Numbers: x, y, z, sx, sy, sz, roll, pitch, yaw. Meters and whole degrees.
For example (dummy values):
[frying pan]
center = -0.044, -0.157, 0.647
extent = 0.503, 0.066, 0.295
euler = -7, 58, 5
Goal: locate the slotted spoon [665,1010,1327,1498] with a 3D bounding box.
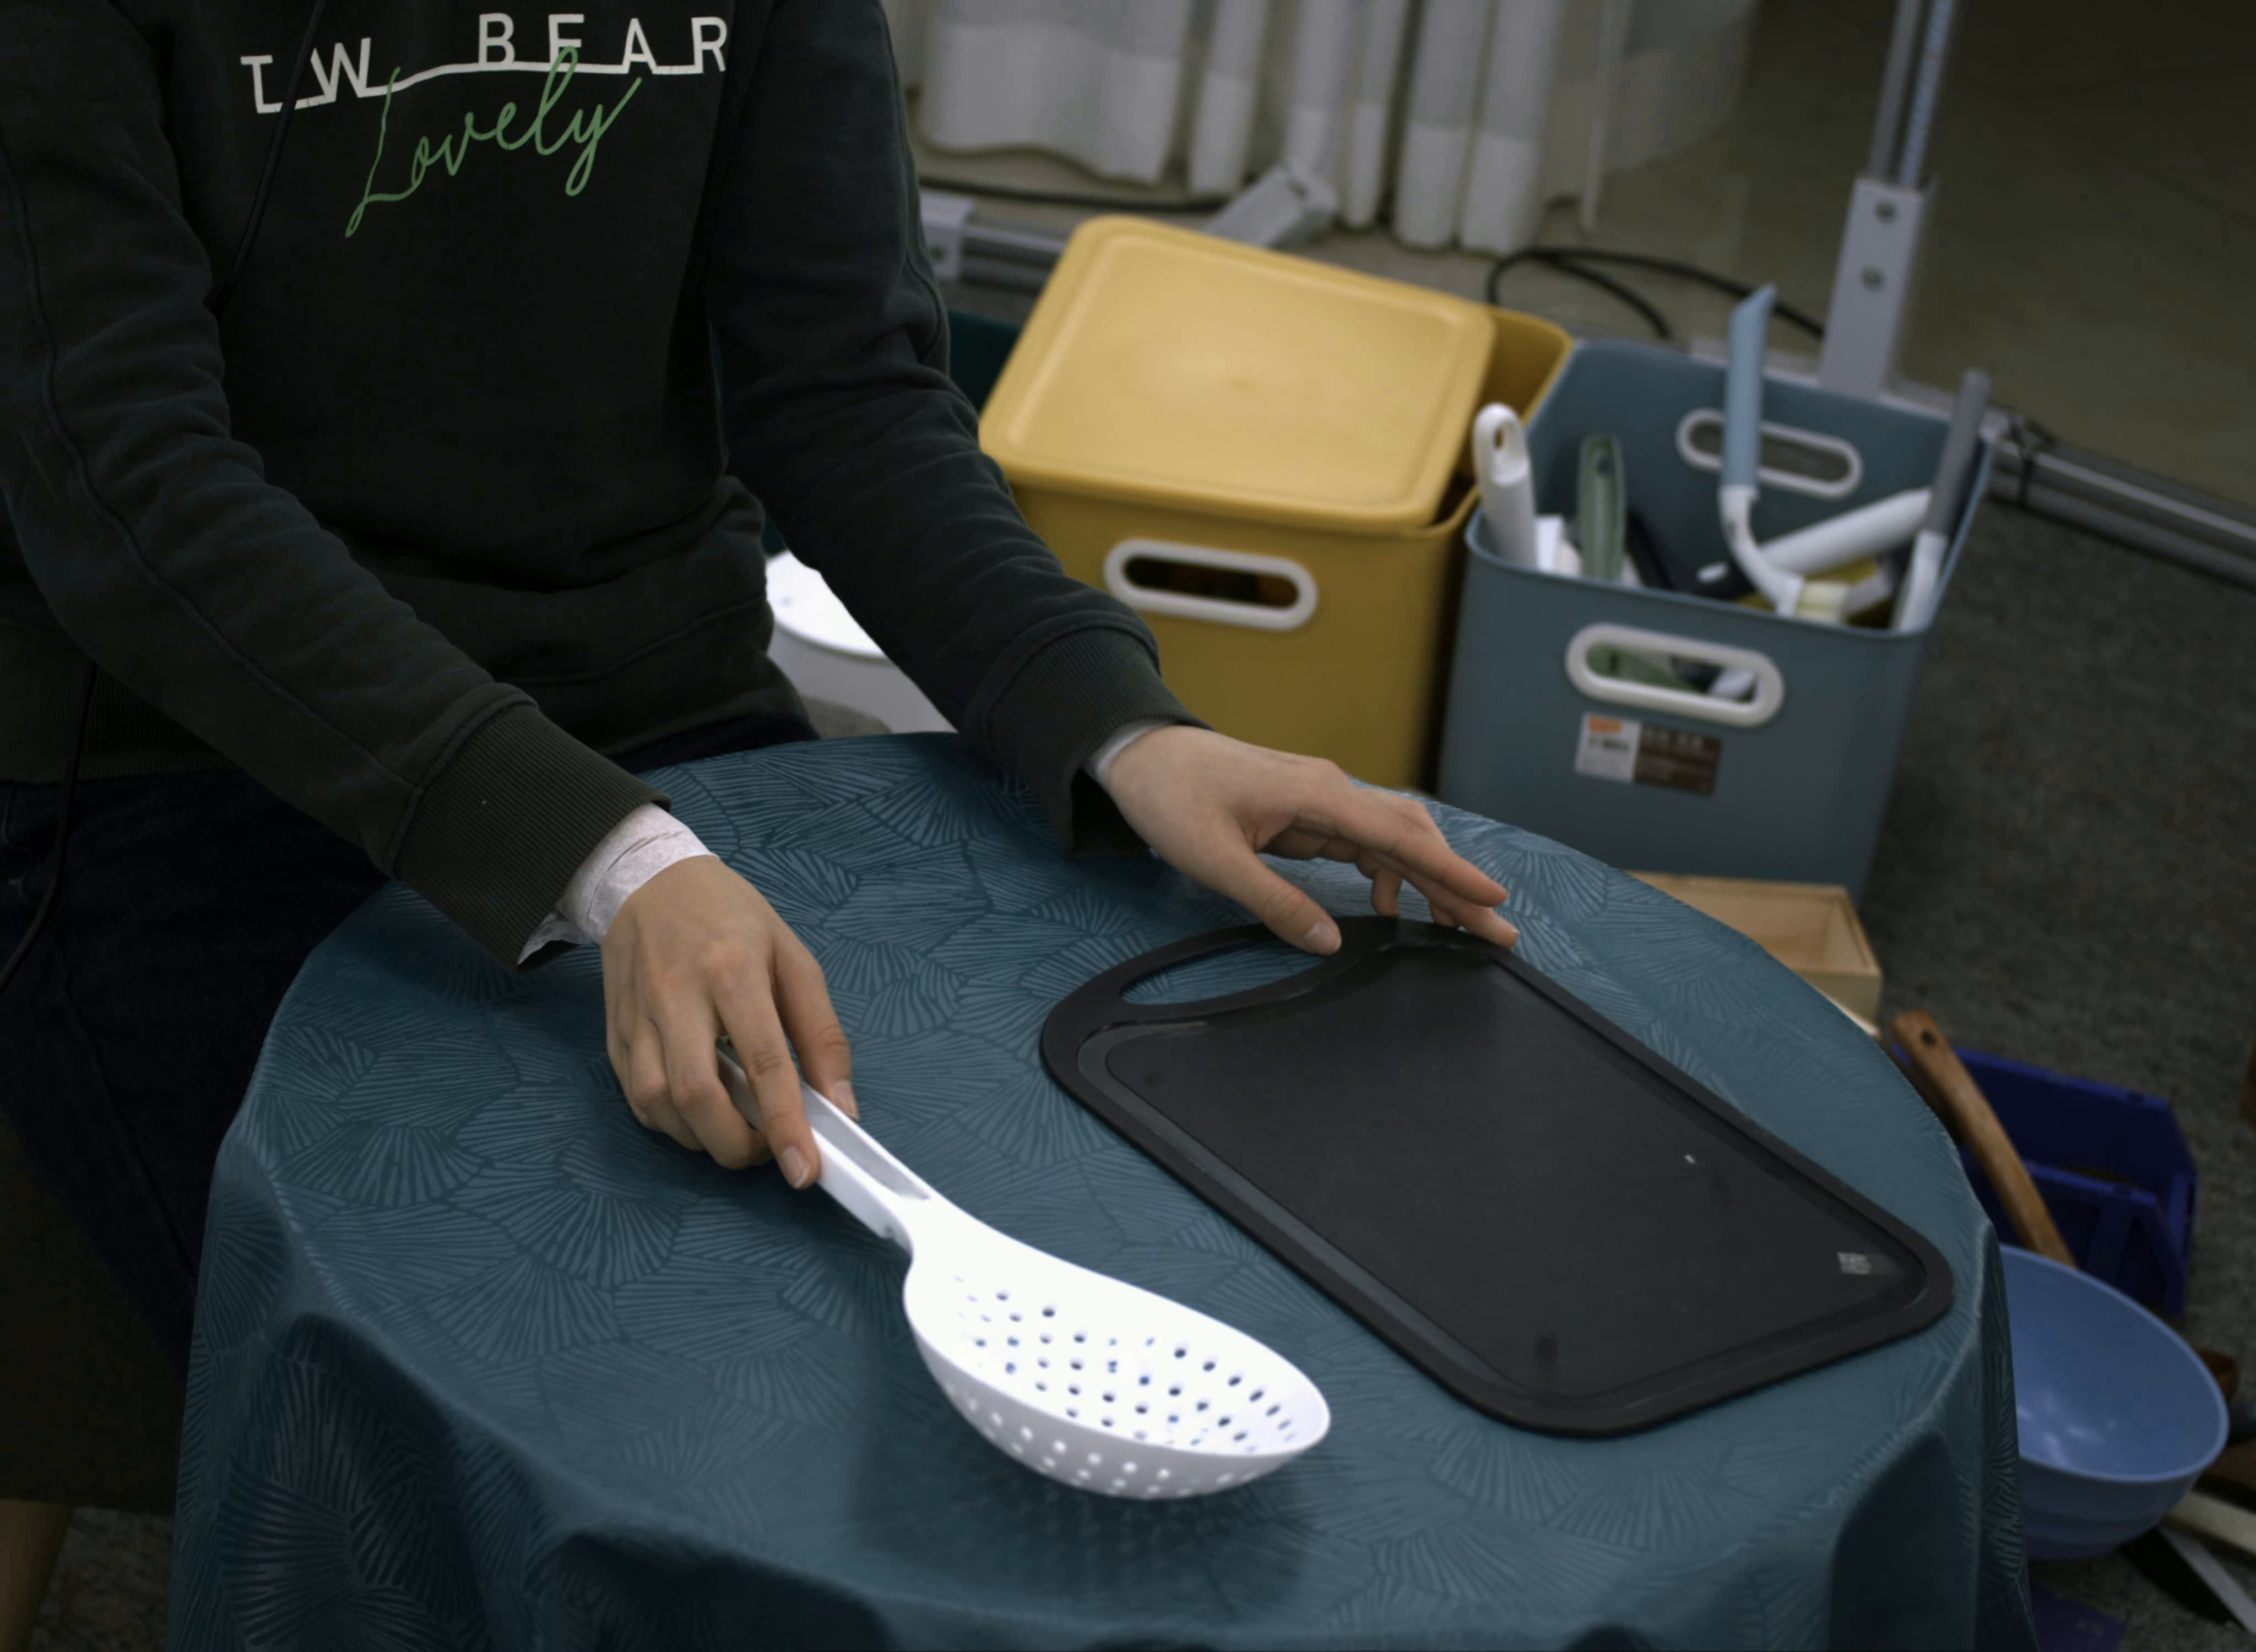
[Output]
[slotted spoon]
center = -0.062, 0.132, 1.716
extent = 0.135, 0.046, 0.353
euler = 9, 20, -36

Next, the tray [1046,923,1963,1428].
[tray]
center = 0.121, 0.111, 1.844
extent = 0.210, 0.010, 0.328
euler = -13, 33, -34
